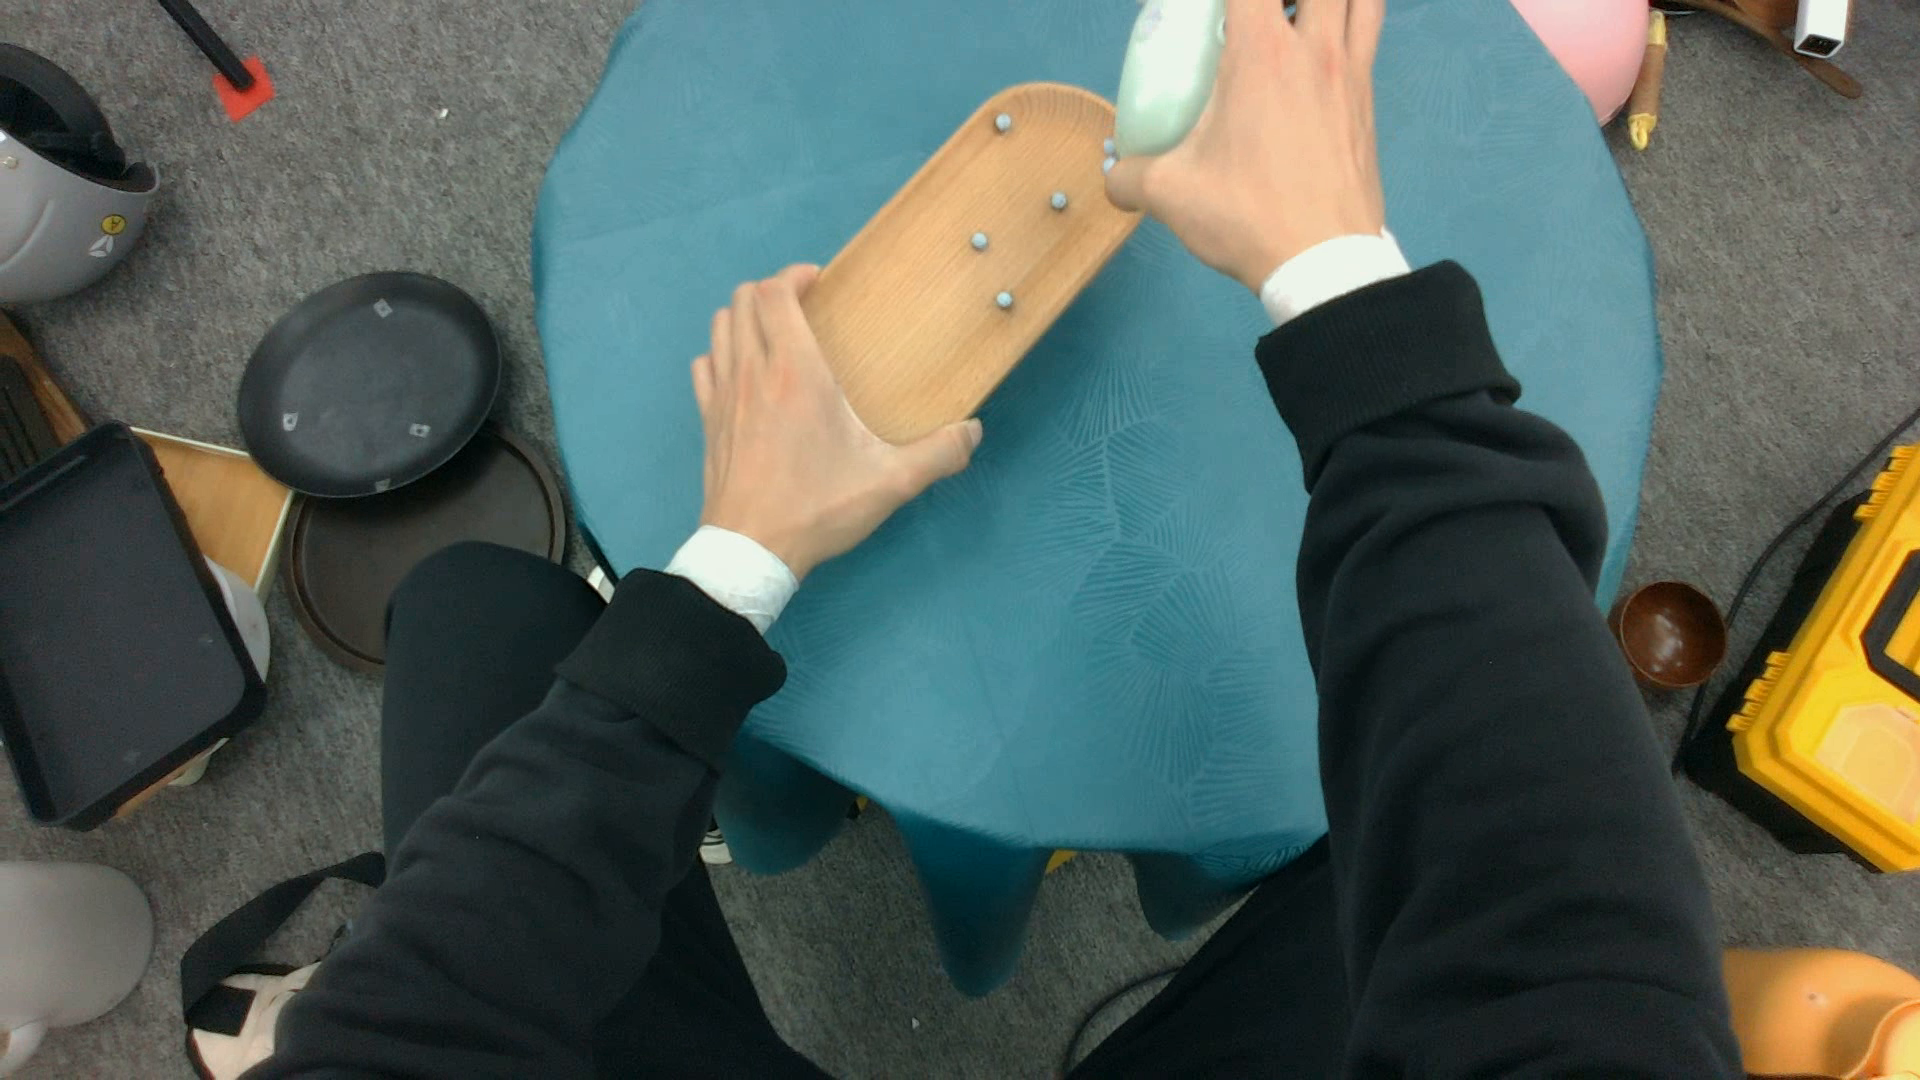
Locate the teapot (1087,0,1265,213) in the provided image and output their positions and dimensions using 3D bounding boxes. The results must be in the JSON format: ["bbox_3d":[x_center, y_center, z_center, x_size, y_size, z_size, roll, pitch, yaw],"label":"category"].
[{"bbox_3d":[0.094,-0.190,0.609,0.074,0.143,0.088,14,75,11],"label":"teapot"}]

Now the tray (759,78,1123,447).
[{"bbox_3d":[-0.005,-0.140,0.677,0.102,0.020,0.232,37,72,7],"label":"tray"}]
